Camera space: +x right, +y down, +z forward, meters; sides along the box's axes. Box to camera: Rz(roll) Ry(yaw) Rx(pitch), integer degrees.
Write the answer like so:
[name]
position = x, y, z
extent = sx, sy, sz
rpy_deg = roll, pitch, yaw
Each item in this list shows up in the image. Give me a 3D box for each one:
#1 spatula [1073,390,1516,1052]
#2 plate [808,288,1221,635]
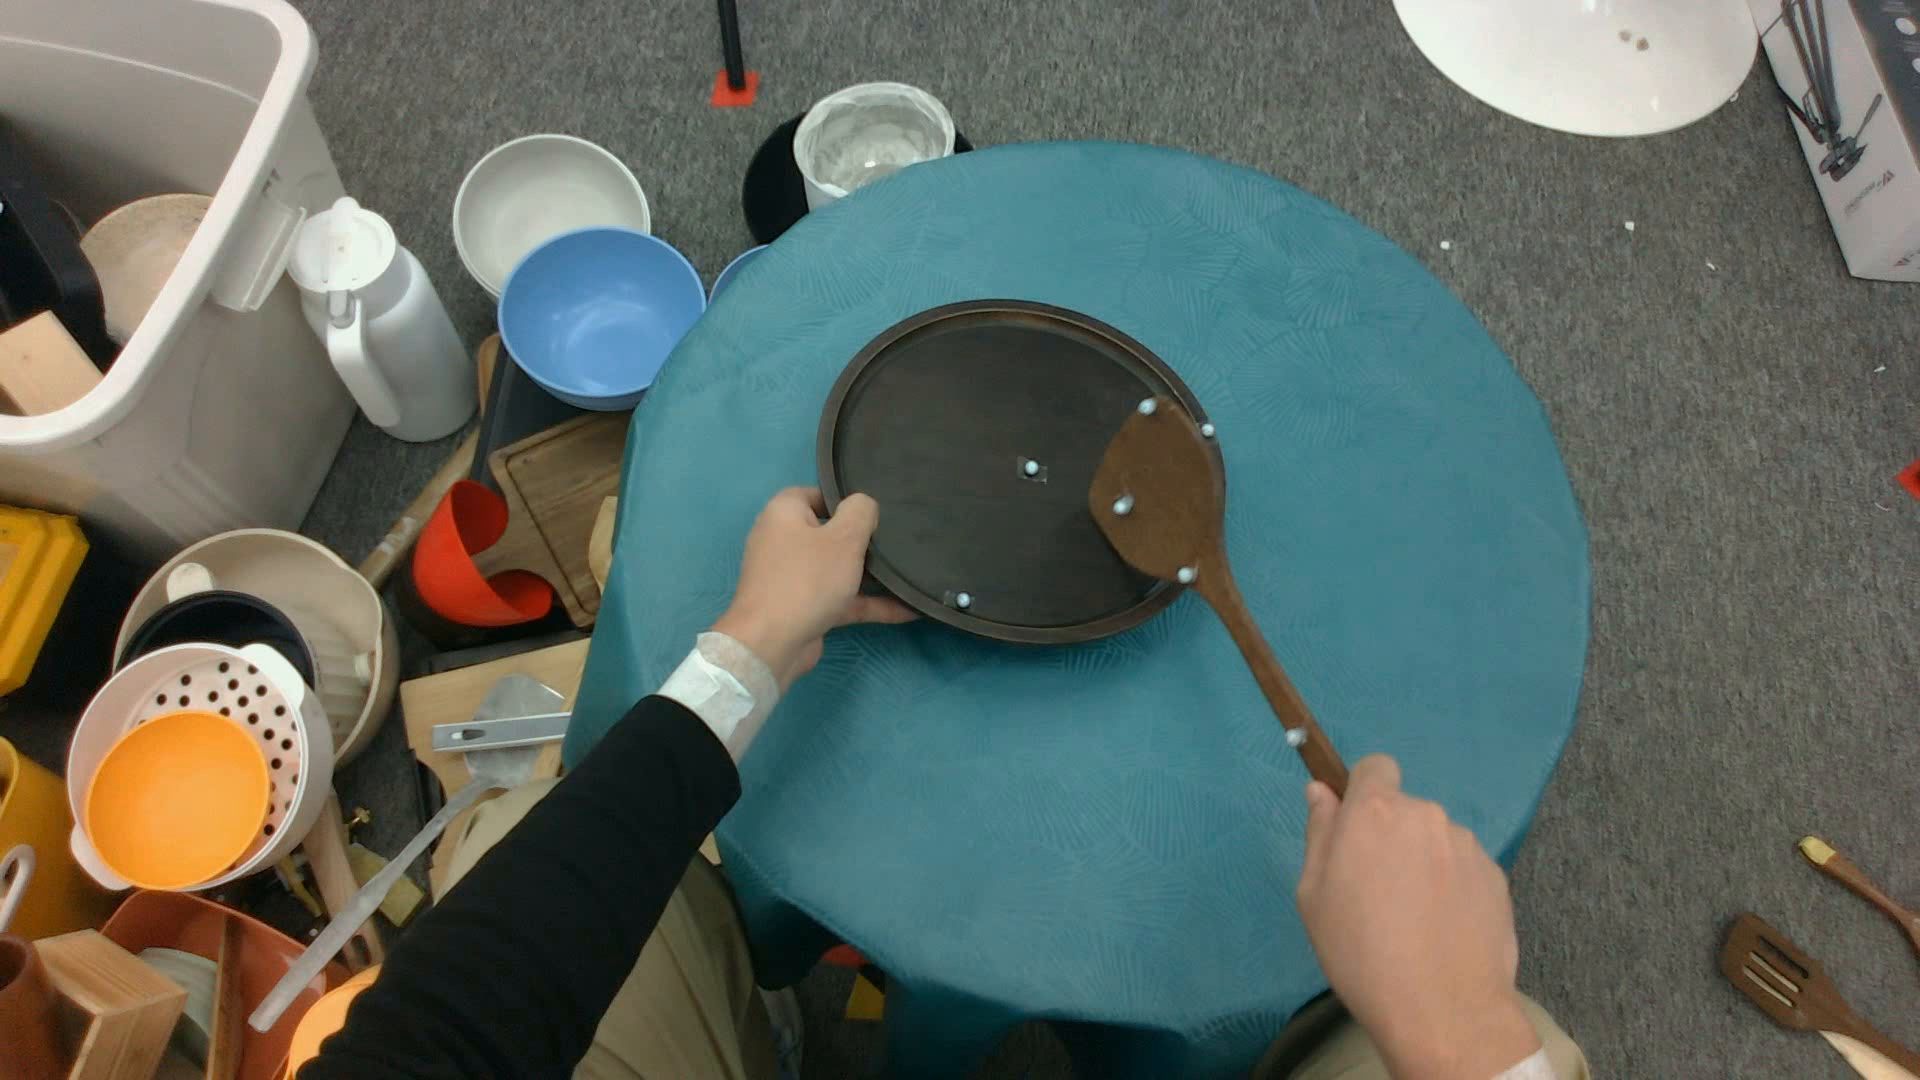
[spatula]
position = 0.157, 0.077, 0.695
extent = 0.016, 0.095, 0.387
rpy_deg = -2, 48, -32
[plate]
position = 0.034, -0.053, 0.837
extent = 0.255, 0.029, 0.256
rpy_deg = 5, 57, -7
